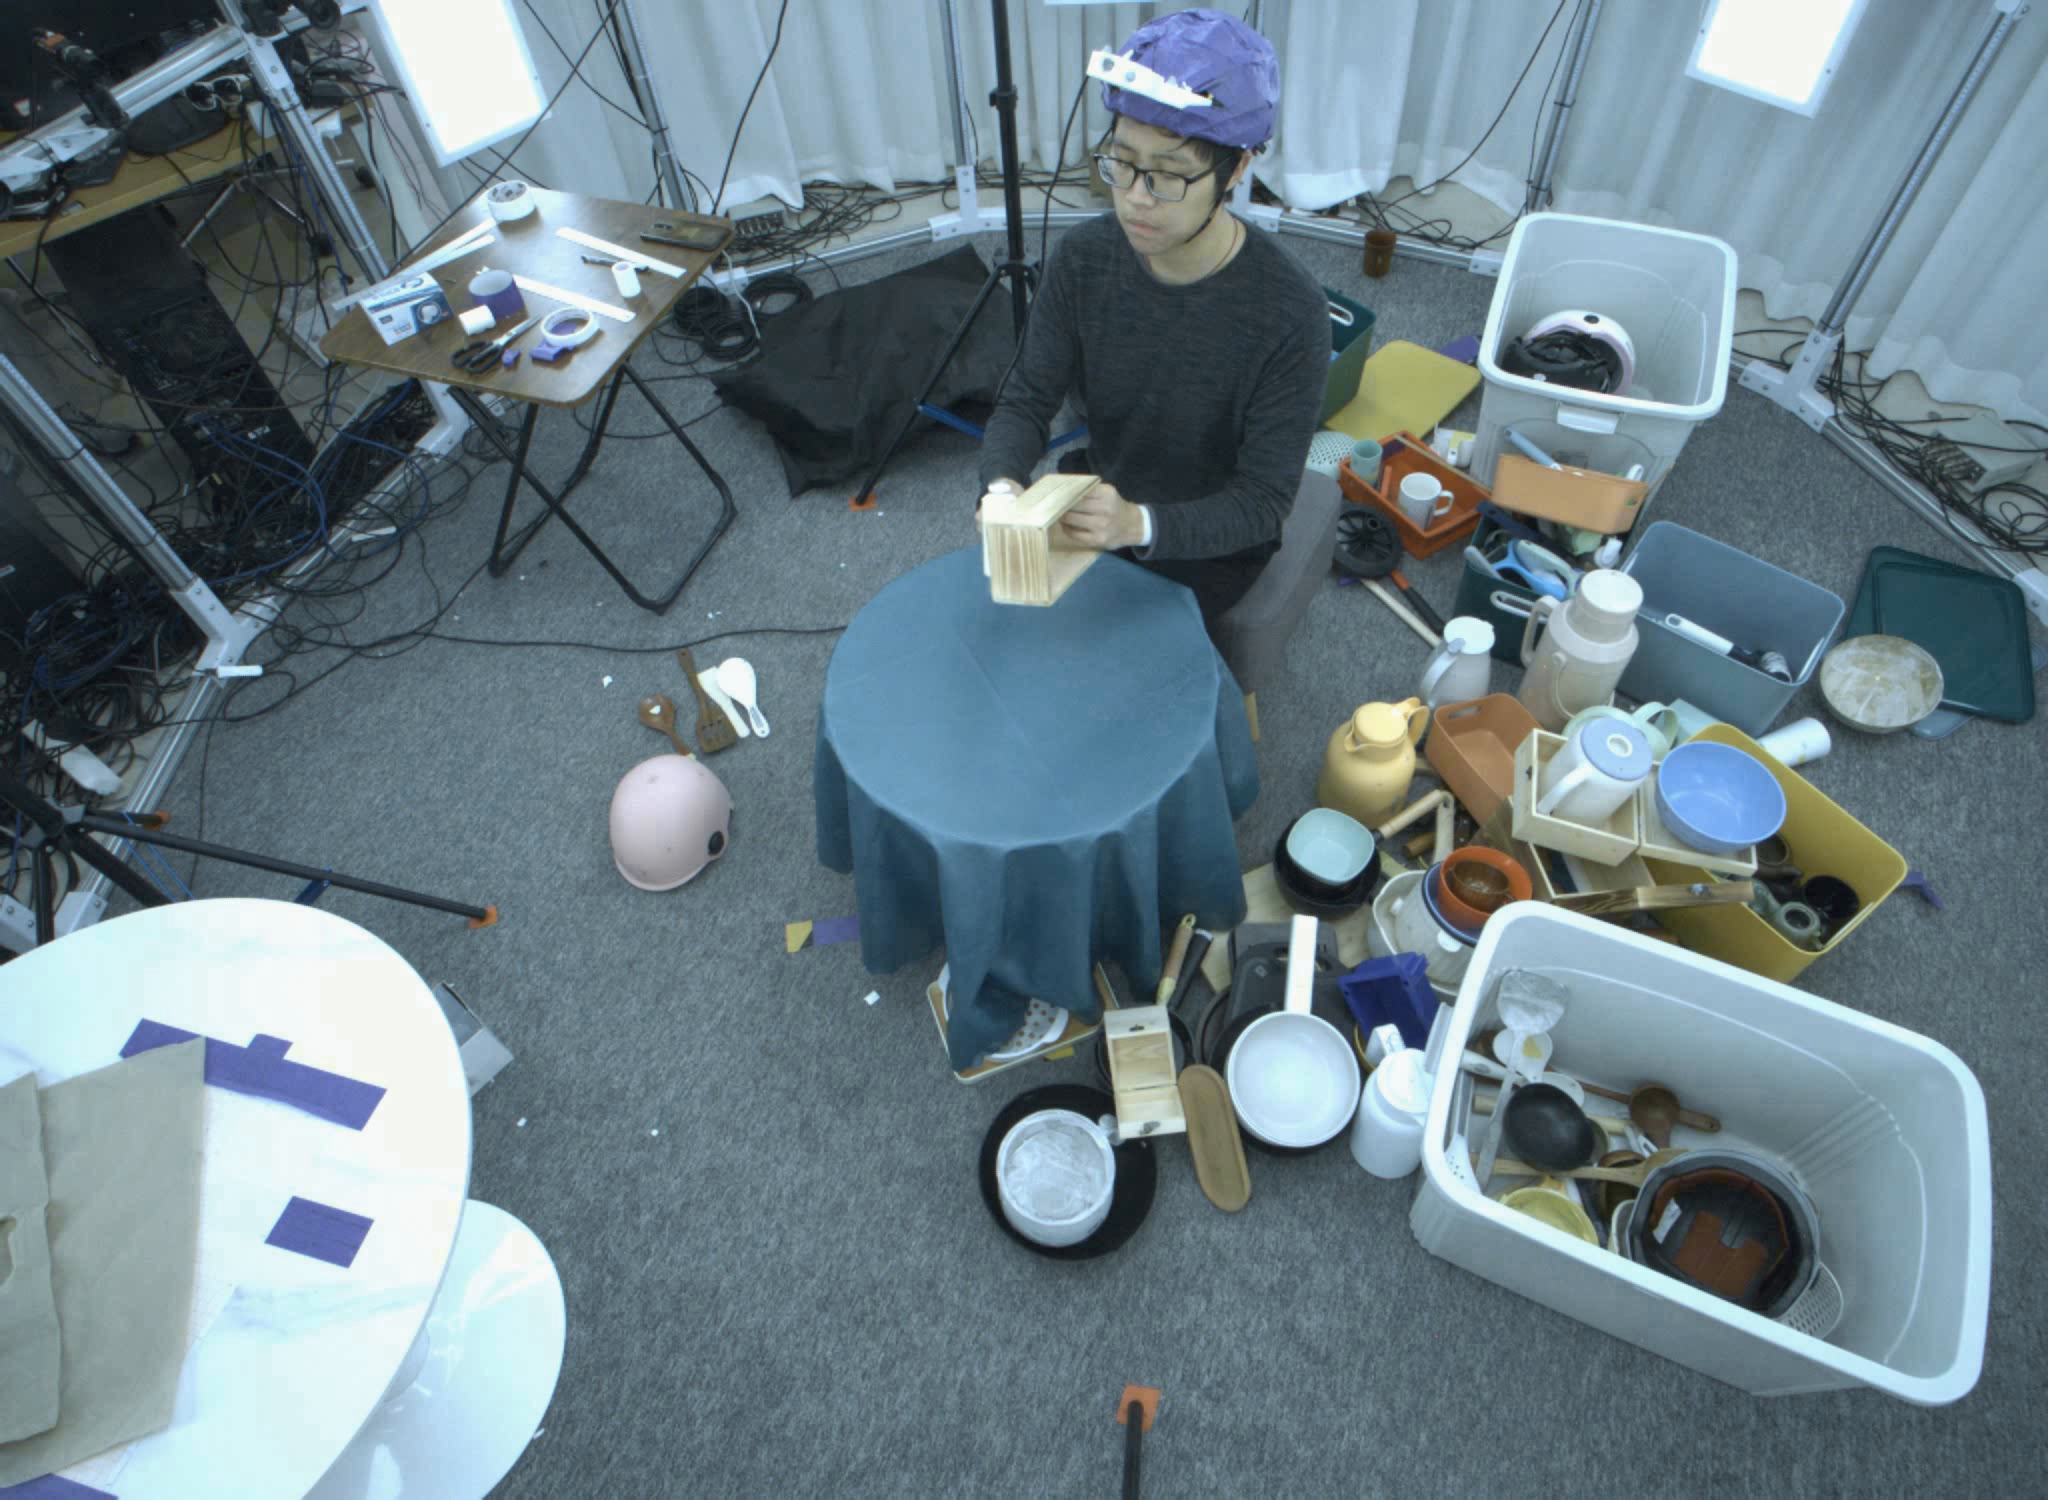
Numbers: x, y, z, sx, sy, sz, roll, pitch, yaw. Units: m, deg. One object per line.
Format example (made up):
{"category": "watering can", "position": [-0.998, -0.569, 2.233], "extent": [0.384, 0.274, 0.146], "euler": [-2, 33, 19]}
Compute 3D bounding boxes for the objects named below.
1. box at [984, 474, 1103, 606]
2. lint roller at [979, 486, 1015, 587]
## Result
{"category": "box", "position": [0.028, -0.278, 1.596], "extent": [0.079, 0.108, 0.212], "euler": [7, 32, 21]}
{"category": "lint roller", "position": [-0.040, -0.300, 1.662], "extent": [0.050, 0.134, 0.179], "euler": [-3, 20, -5]}
